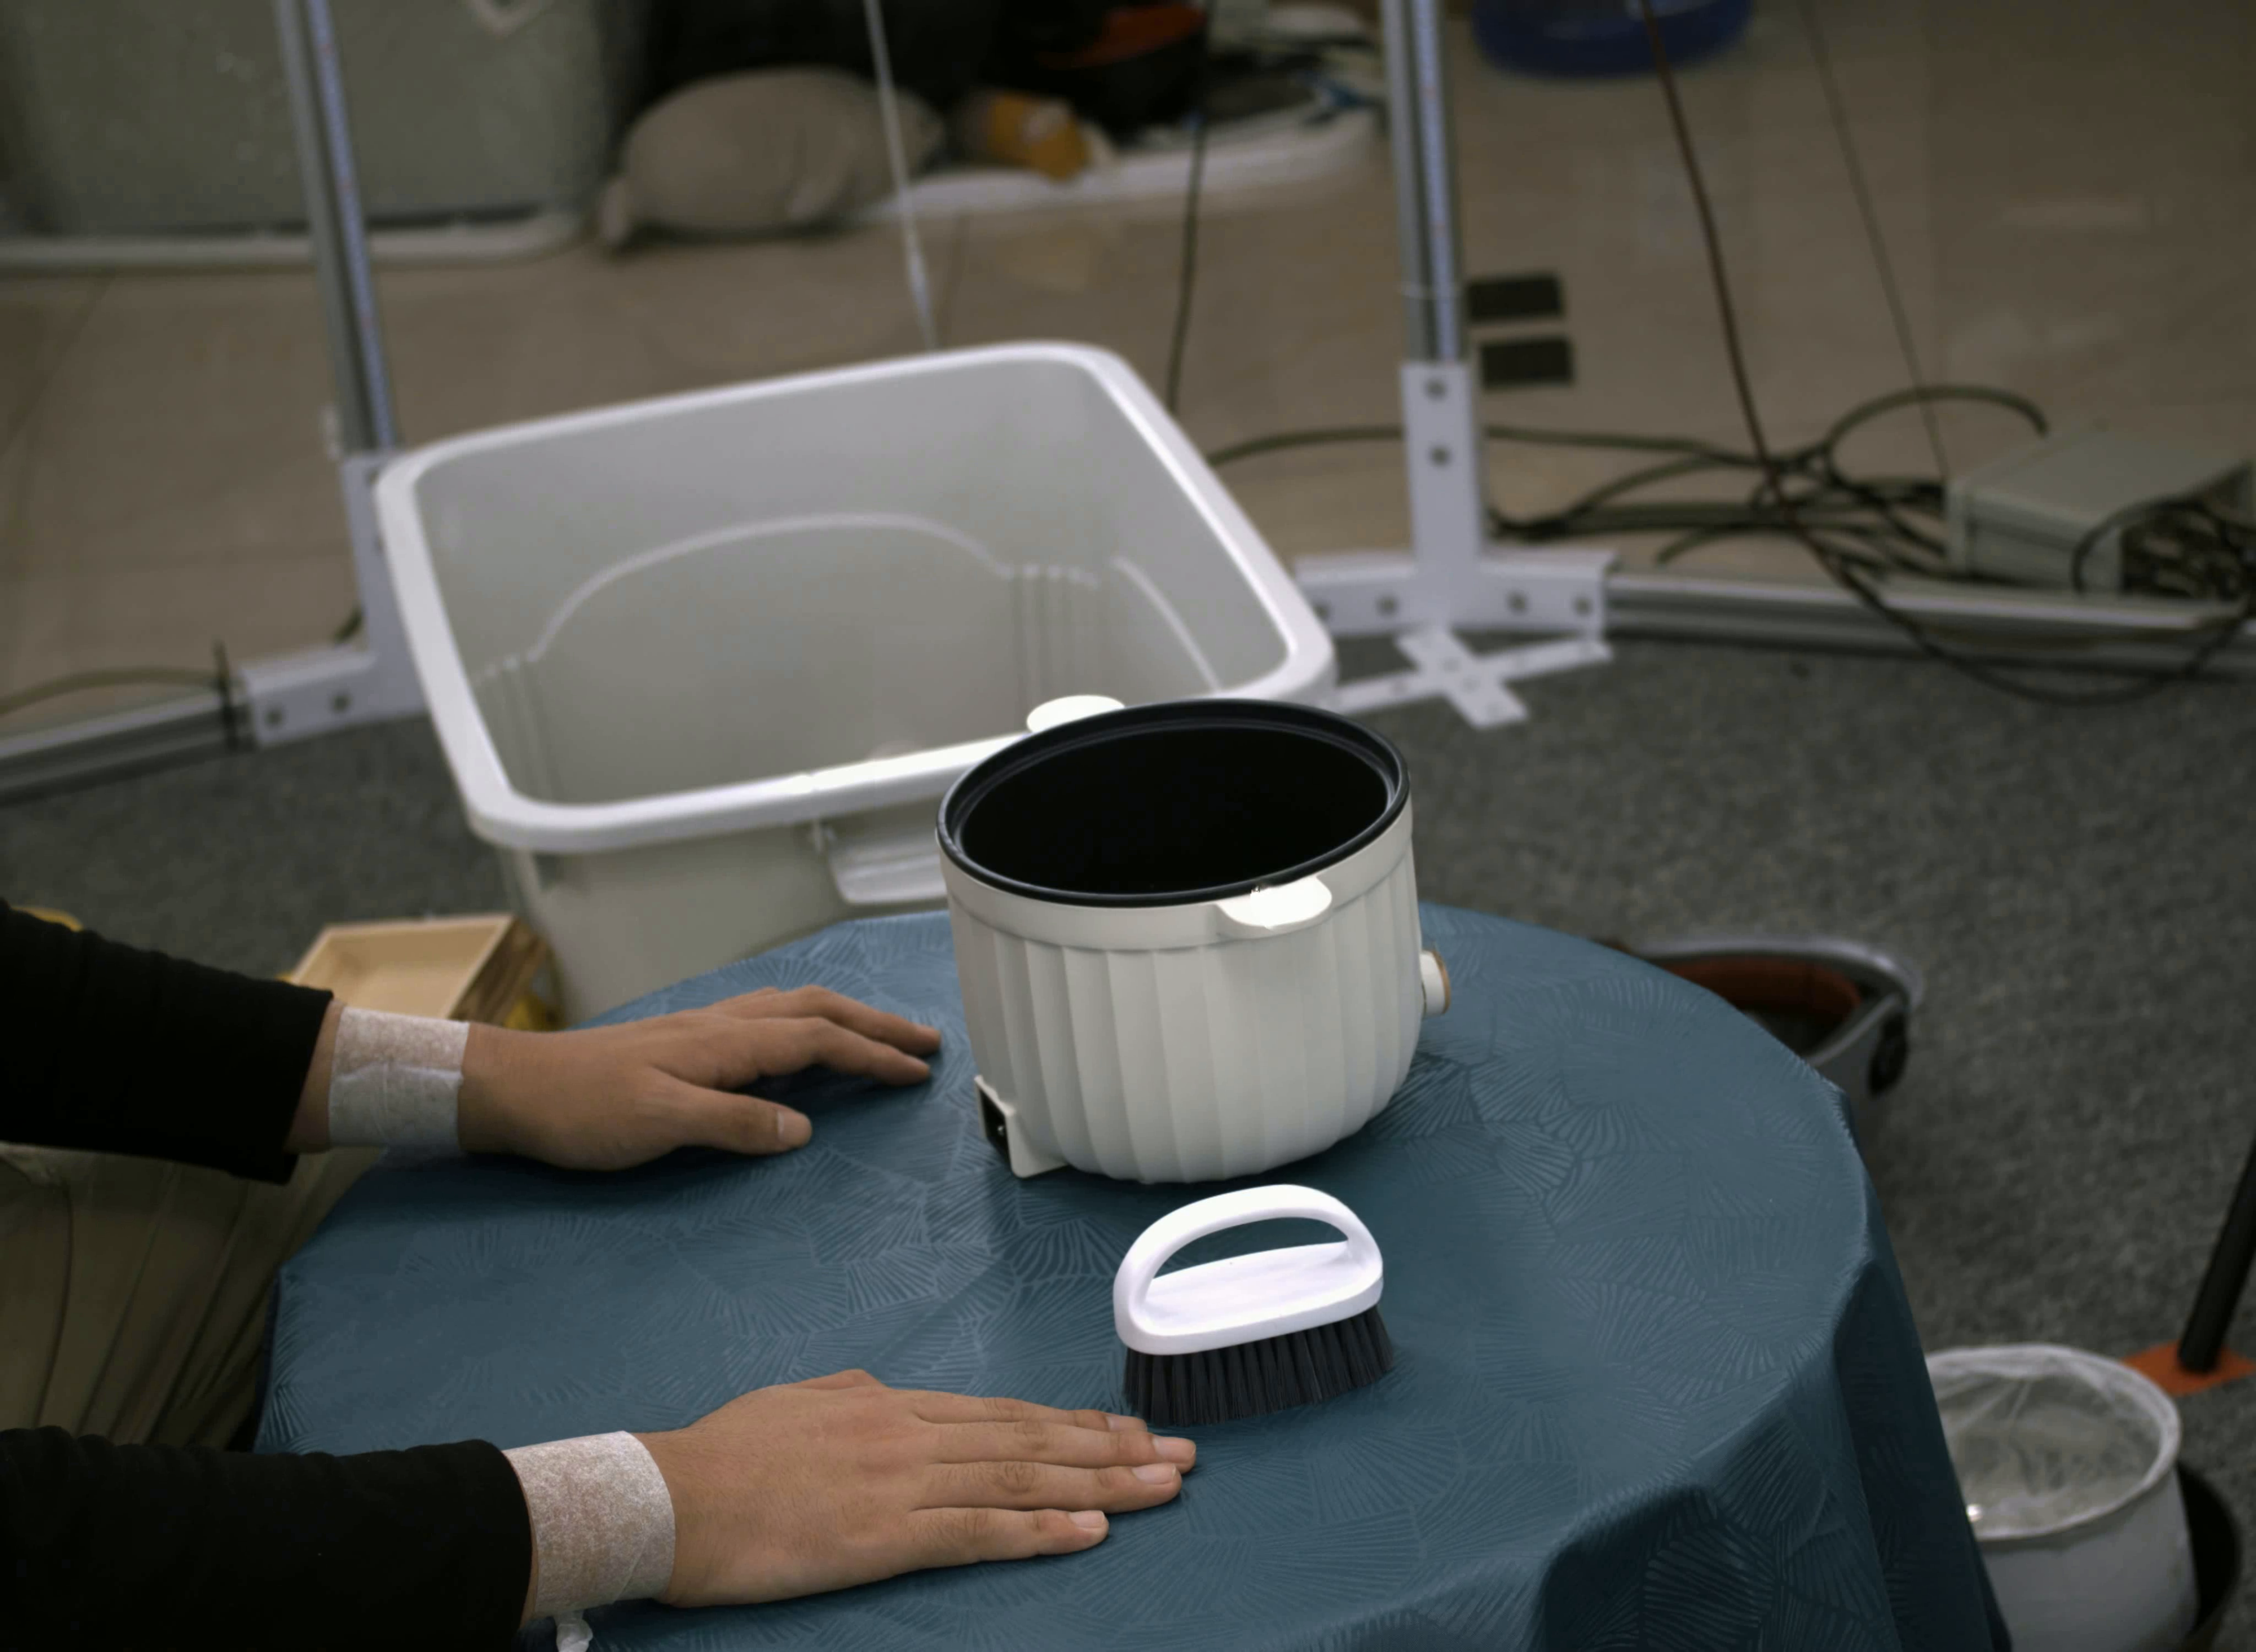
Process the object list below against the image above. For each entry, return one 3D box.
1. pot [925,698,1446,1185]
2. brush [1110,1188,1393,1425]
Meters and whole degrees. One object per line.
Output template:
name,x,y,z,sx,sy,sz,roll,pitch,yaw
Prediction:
pot,0.026,0.047,2.174,0.190,0.145,0.237,-18,29,-17
brush,0.041,0.164,1.997,0.099,0.073,0.049,-11,25,-10
